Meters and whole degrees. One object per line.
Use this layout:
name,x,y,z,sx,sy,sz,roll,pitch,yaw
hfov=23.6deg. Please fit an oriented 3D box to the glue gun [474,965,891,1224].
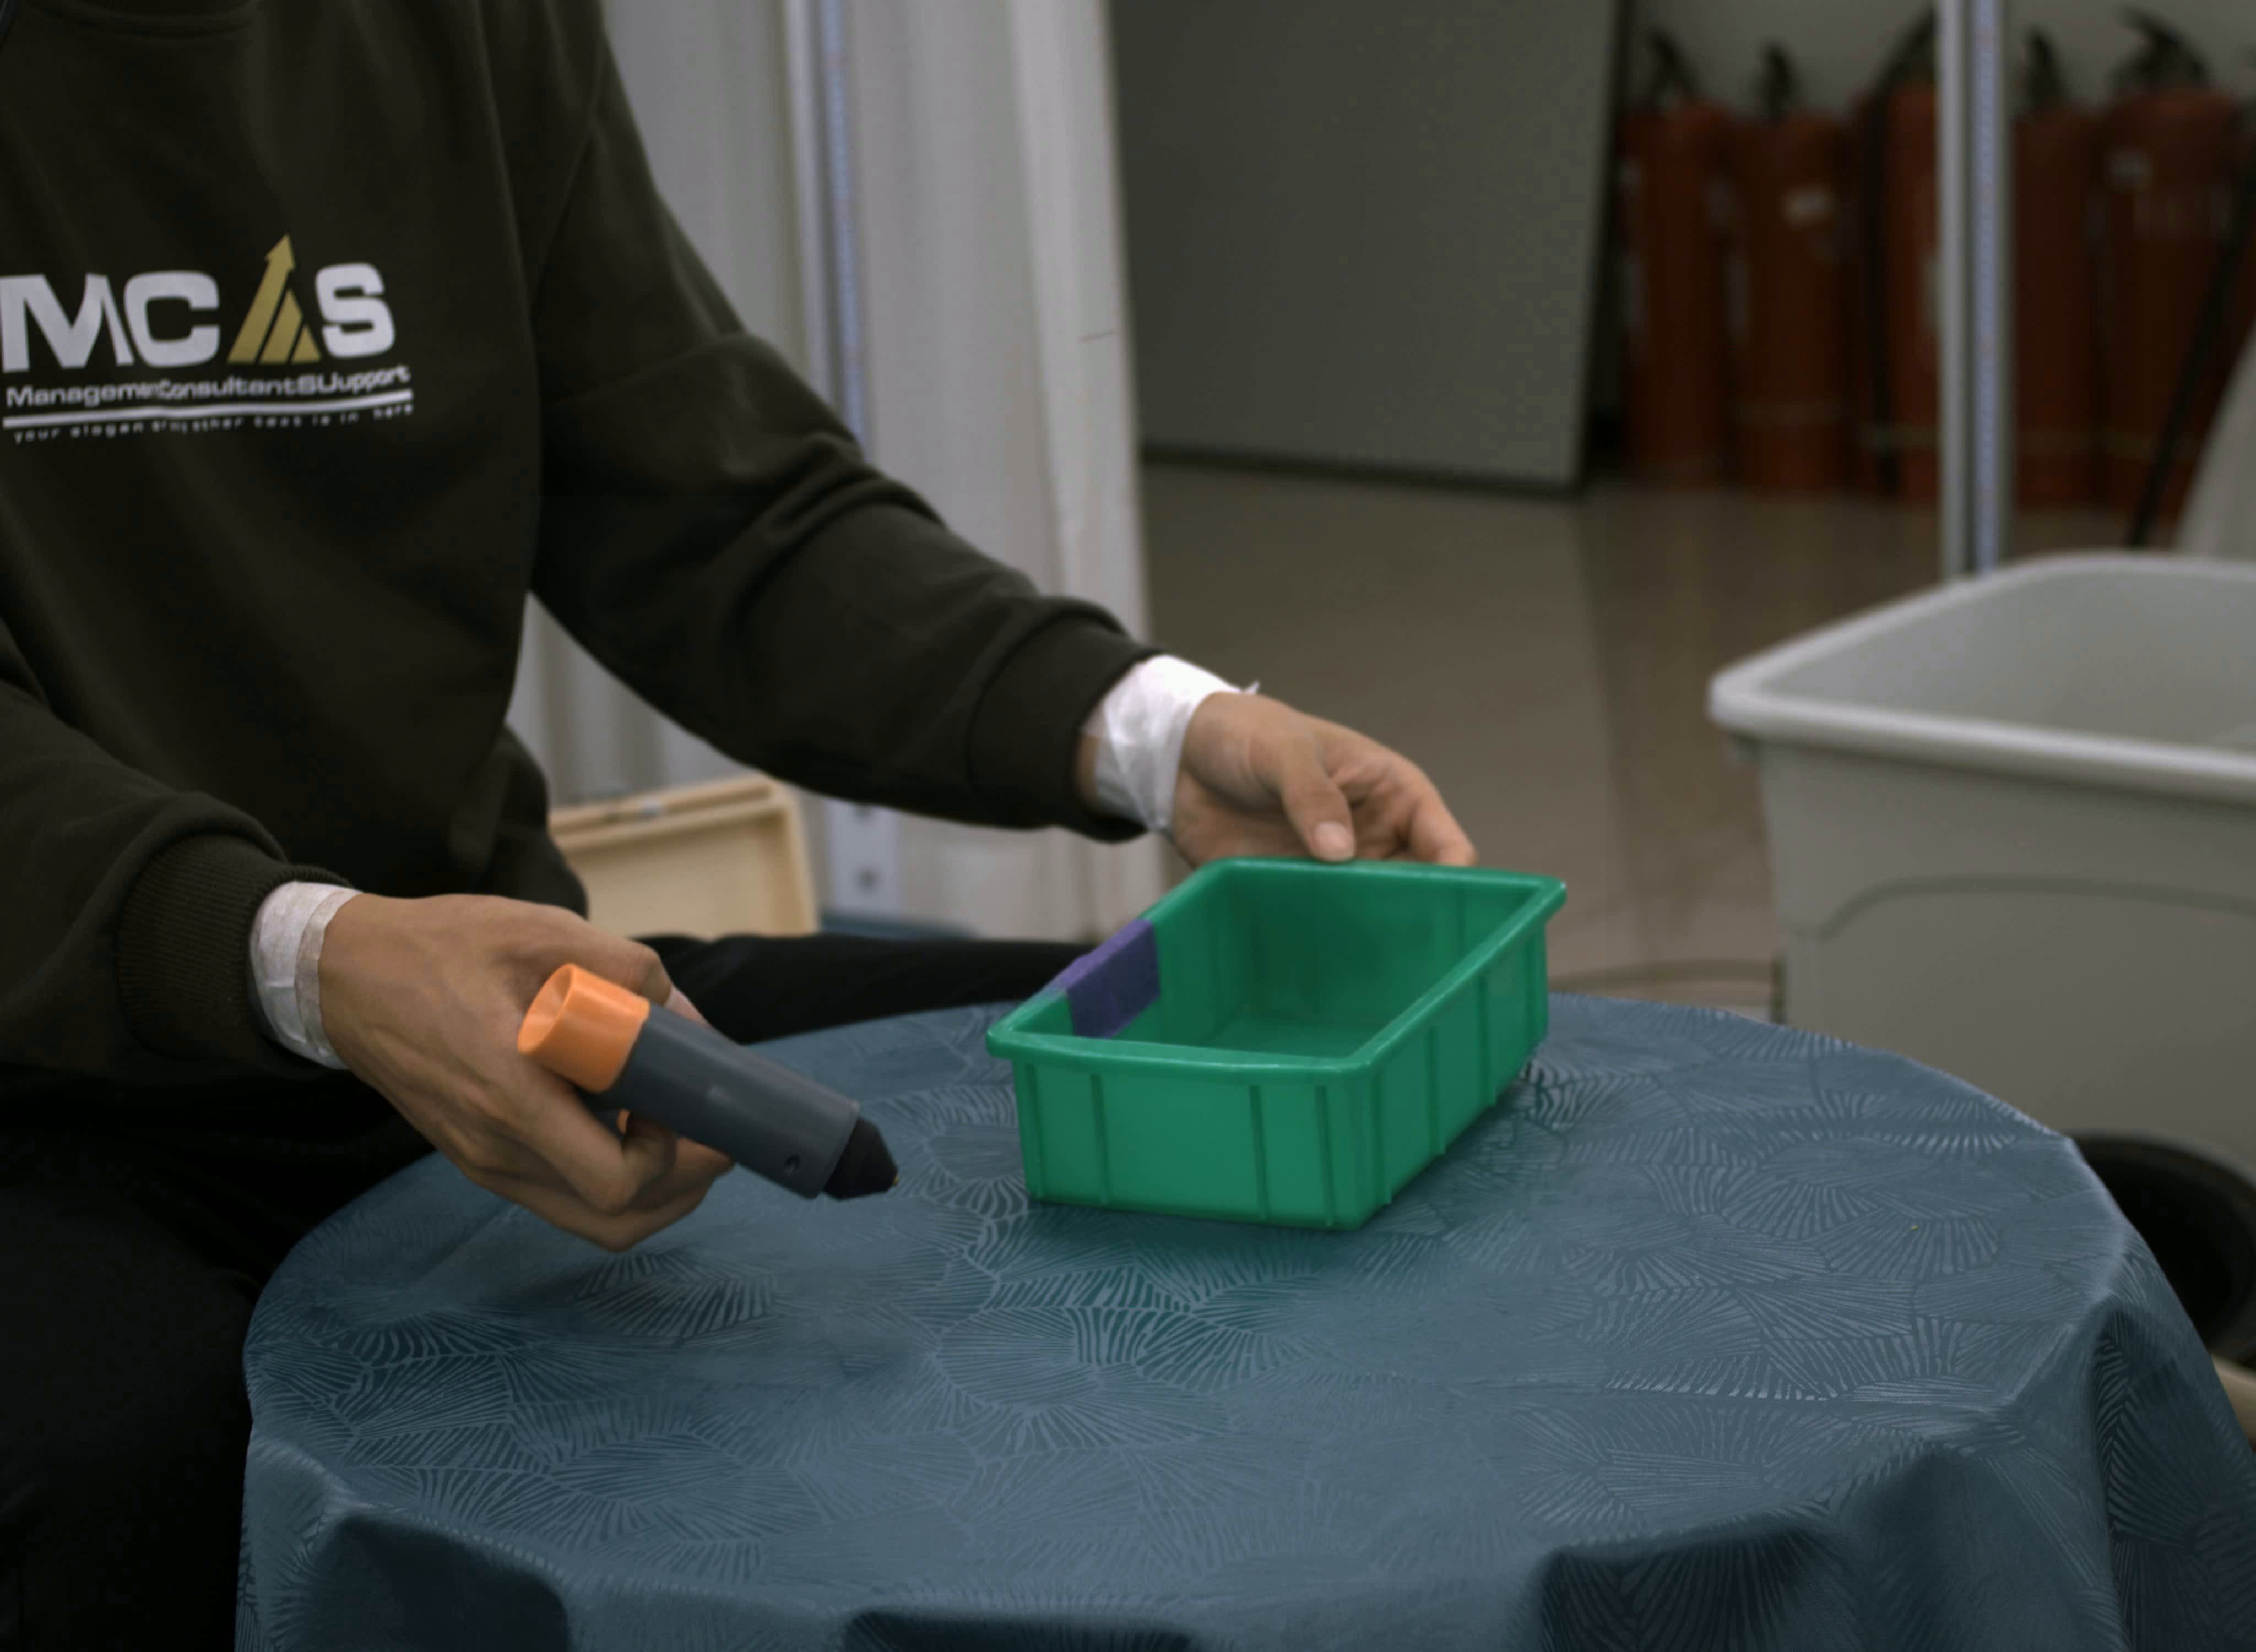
glue gun,-0.144,0.089,1.694,0.116,0.041,0.141,36,-17,-20

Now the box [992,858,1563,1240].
box,0.055,0.074,1.813,0.139,0.066,0.208,2,19,25
